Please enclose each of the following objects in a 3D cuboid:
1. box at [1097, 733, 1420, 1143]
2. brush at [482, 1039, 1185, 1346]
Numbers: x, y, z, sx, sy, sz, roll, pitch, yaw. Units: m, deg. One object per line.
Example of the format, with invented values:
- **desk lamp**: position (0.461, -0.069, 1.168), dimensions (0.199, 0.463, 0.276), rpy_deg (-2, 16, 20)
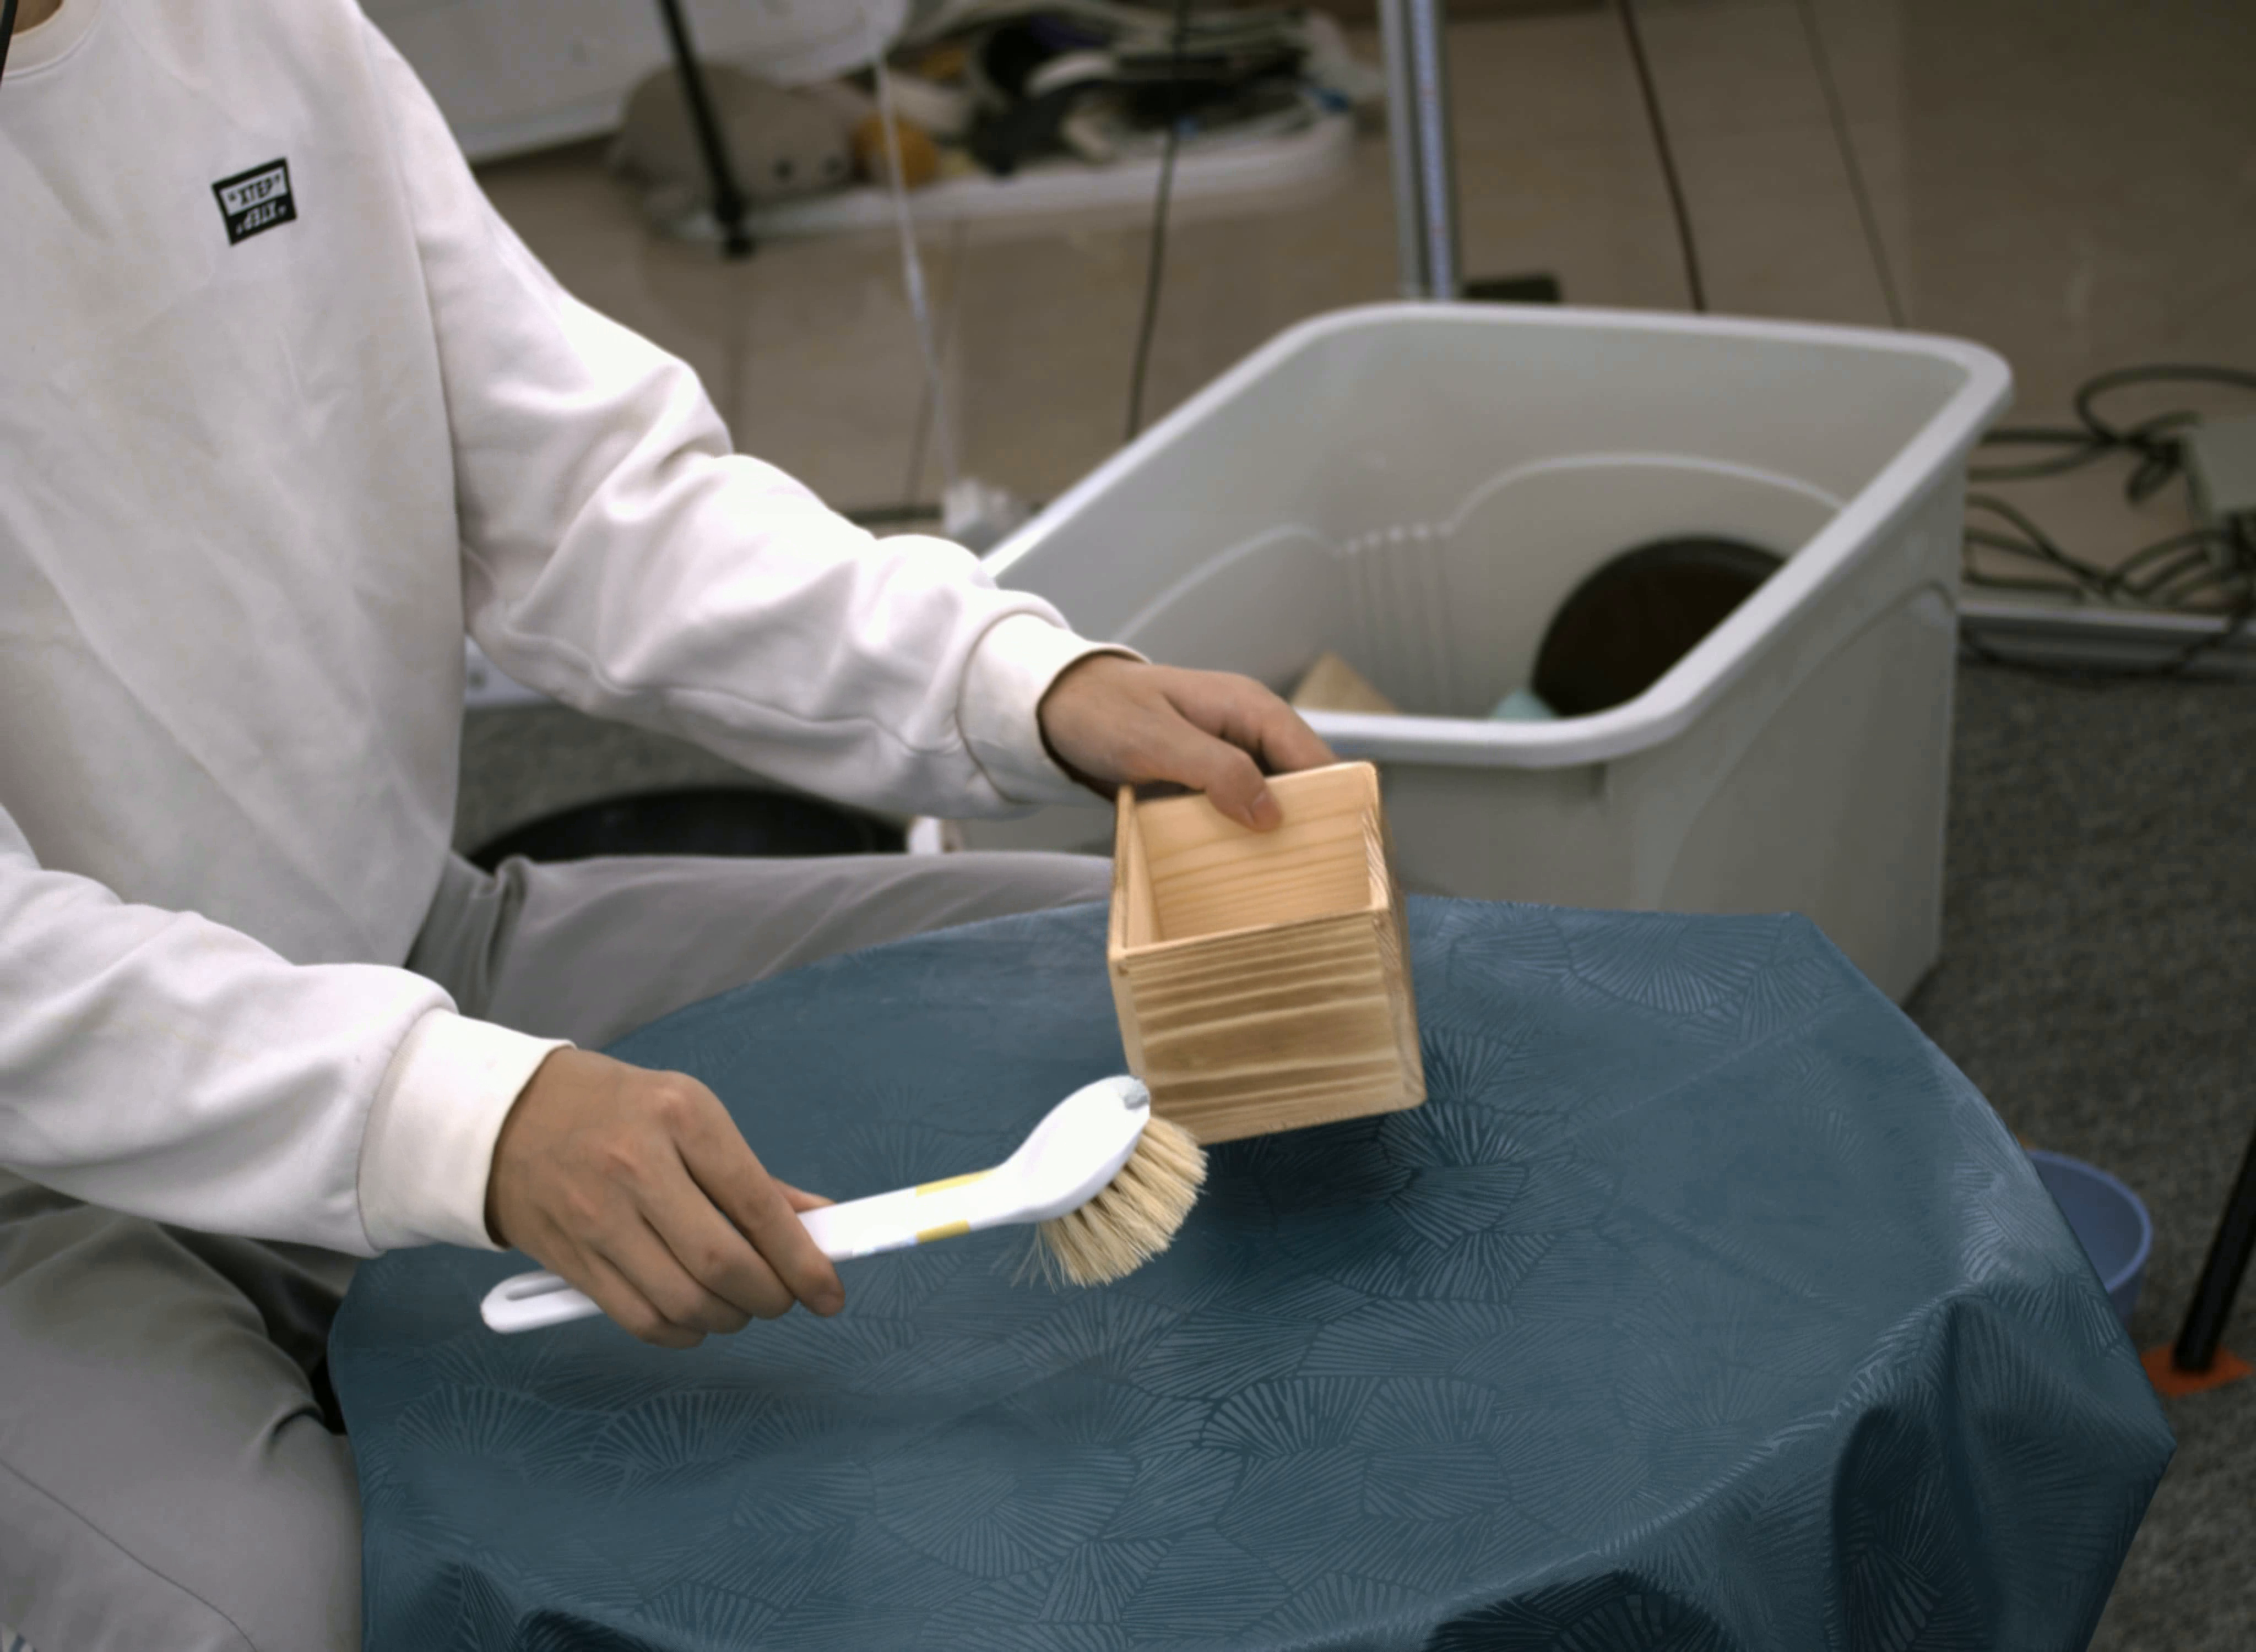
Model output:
- **box**: position (0.050, 0.041, 2.165), dimensions (0.107, 0.081, 0.209), rpy_deg (-11, 17, 4)
- **brush**: position (-0.102, 0.150, 2.022), dimensions (0.267, 0.057, 0.067), rpy_deg (-23, 23, 13)
